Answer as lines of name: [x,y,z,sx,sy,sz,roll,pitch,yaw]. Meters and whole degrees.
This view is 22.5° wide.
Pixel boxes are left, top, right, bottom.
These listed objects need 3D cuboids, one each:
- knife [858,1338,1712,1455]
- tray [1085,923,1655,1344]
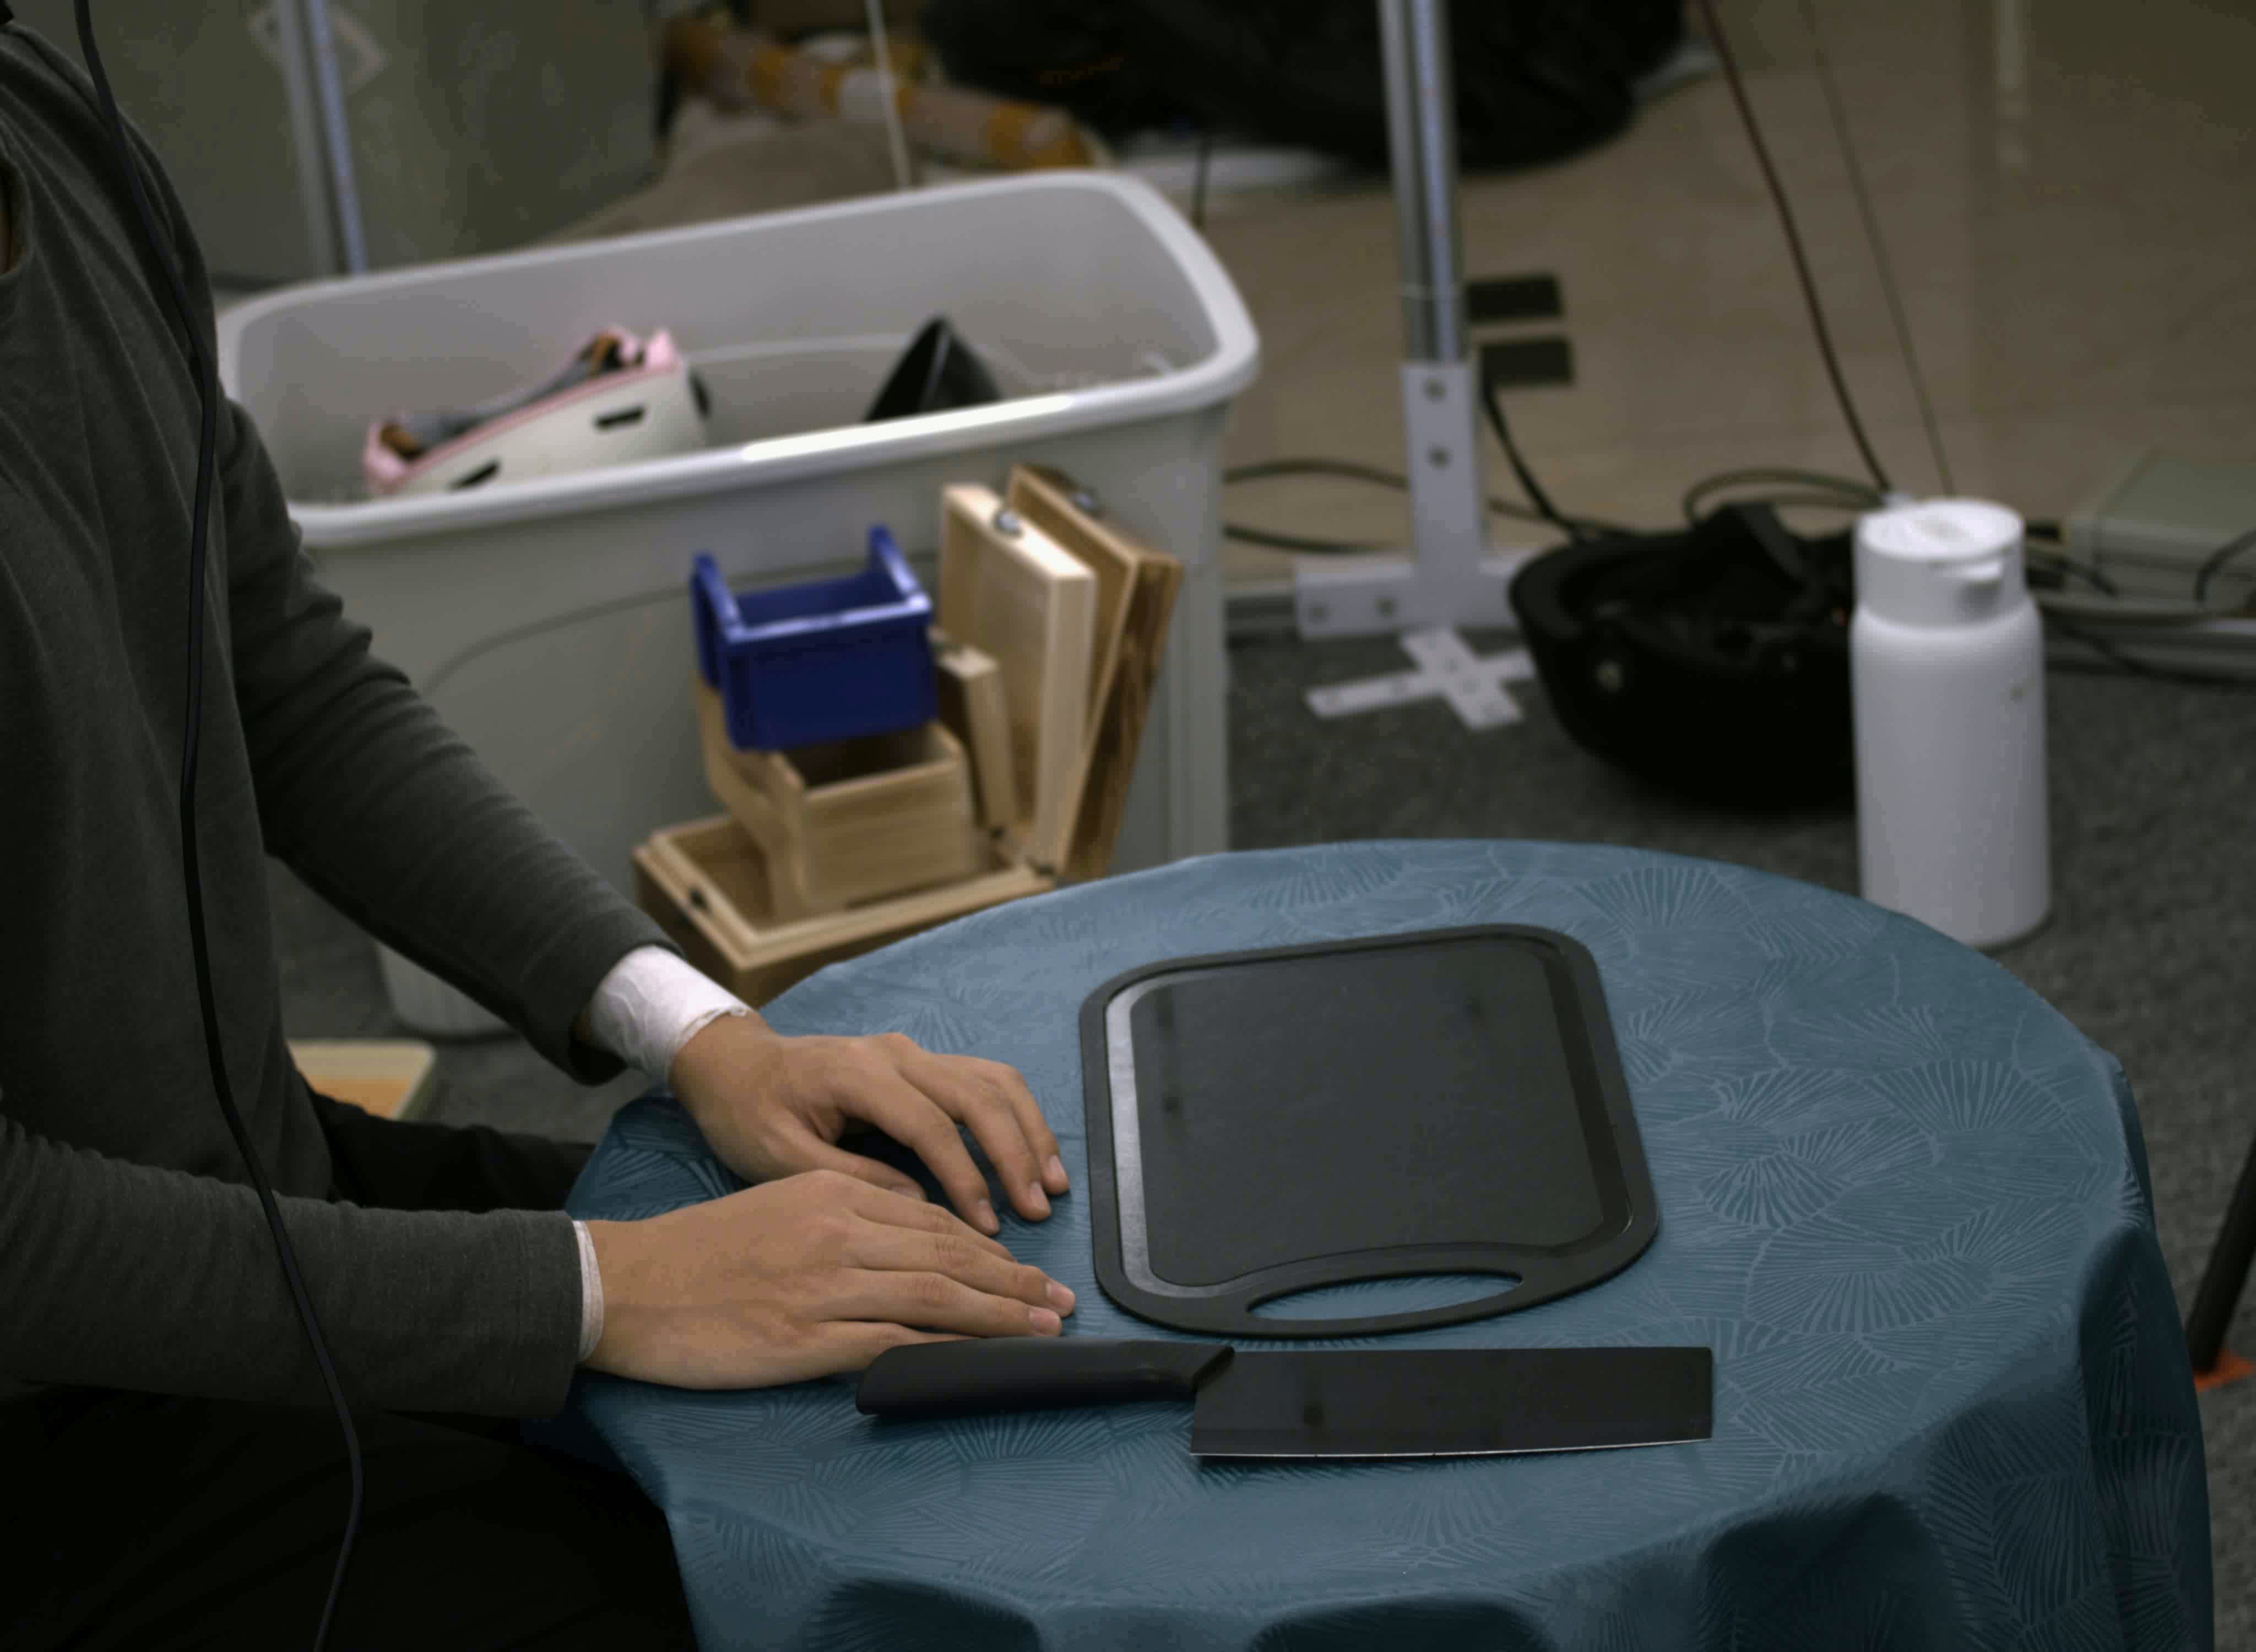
knife: [0.055,0.200,1.992,0.302,0.021,0.080,0,27,10]
tray: [0.089,0.113,2.178,0.211,0.010,0.320,-6,25,2]
